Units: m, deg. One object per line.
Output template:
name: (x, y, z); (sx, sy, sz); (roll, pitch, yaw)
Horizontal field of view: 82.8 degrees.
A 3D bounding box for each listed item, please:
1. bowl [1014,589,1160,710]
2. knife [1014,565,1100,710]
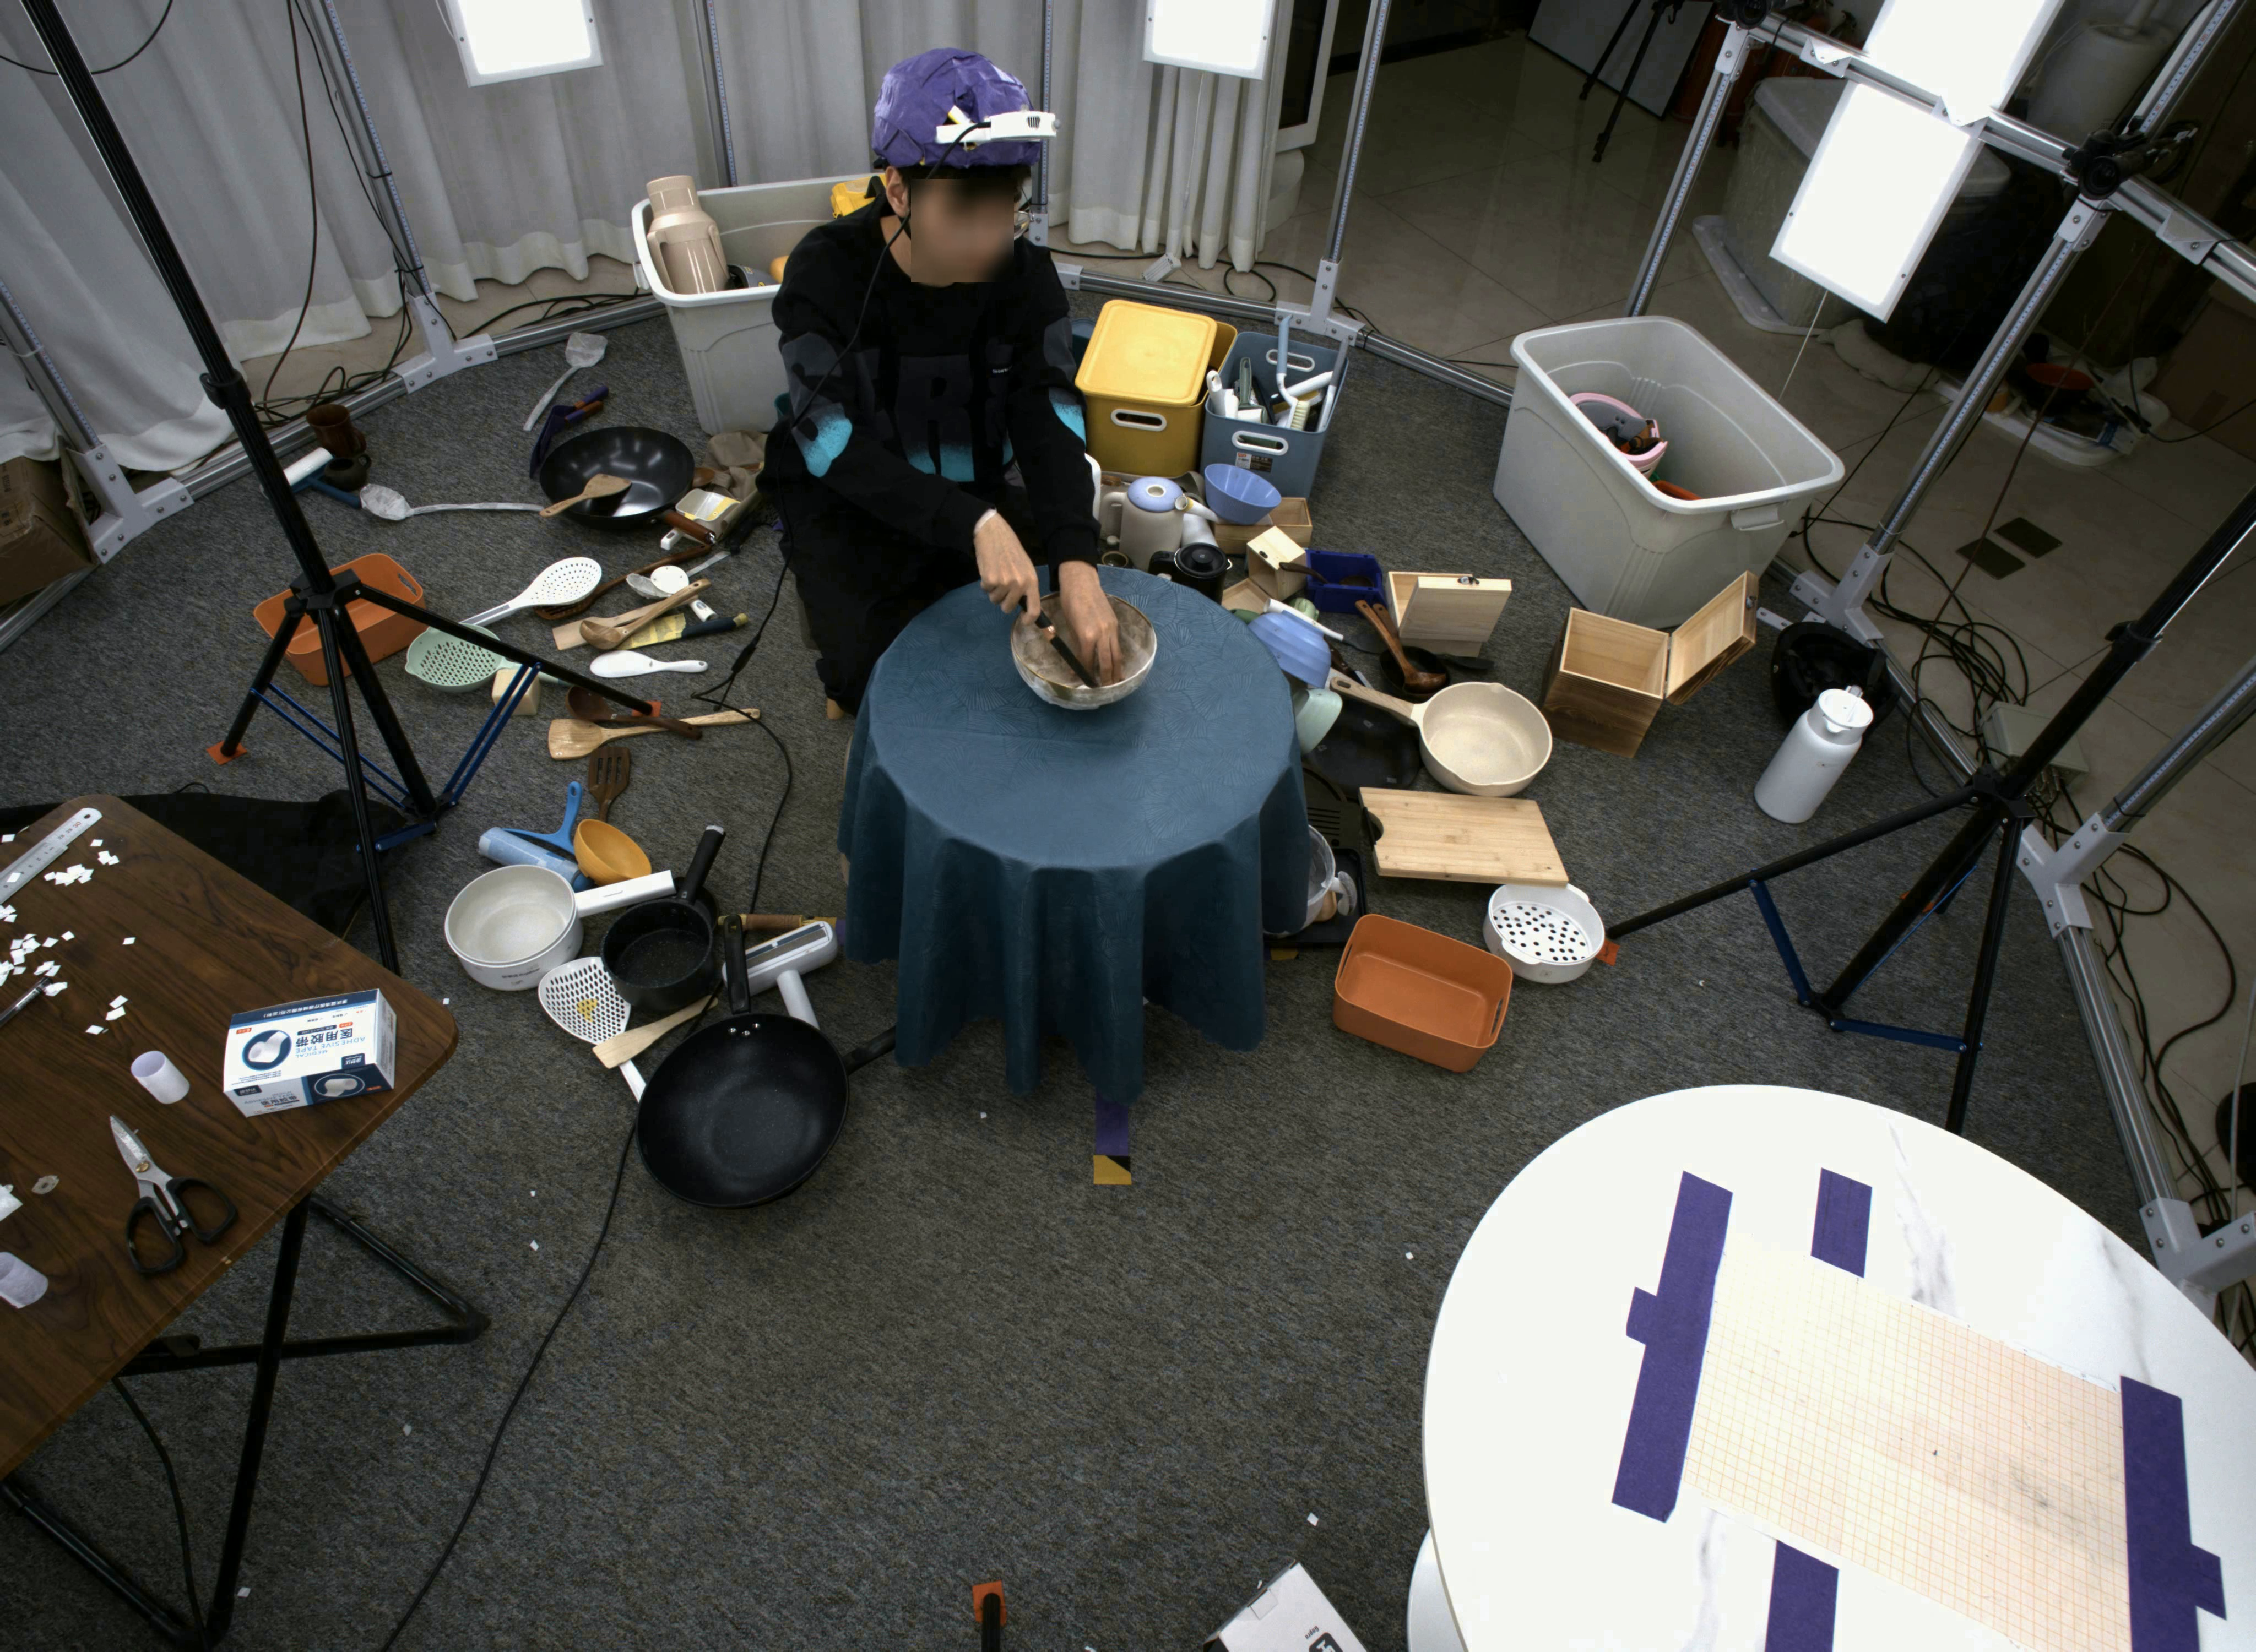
bowl: (-0.059, -0.236, 1.808); (0.214, 0.092, 0.220); (1, 50, -2)
knife: (-0.093, -0.261, 1.787); (0.026, 0.017, 0.225); (-32, 94, -5)
